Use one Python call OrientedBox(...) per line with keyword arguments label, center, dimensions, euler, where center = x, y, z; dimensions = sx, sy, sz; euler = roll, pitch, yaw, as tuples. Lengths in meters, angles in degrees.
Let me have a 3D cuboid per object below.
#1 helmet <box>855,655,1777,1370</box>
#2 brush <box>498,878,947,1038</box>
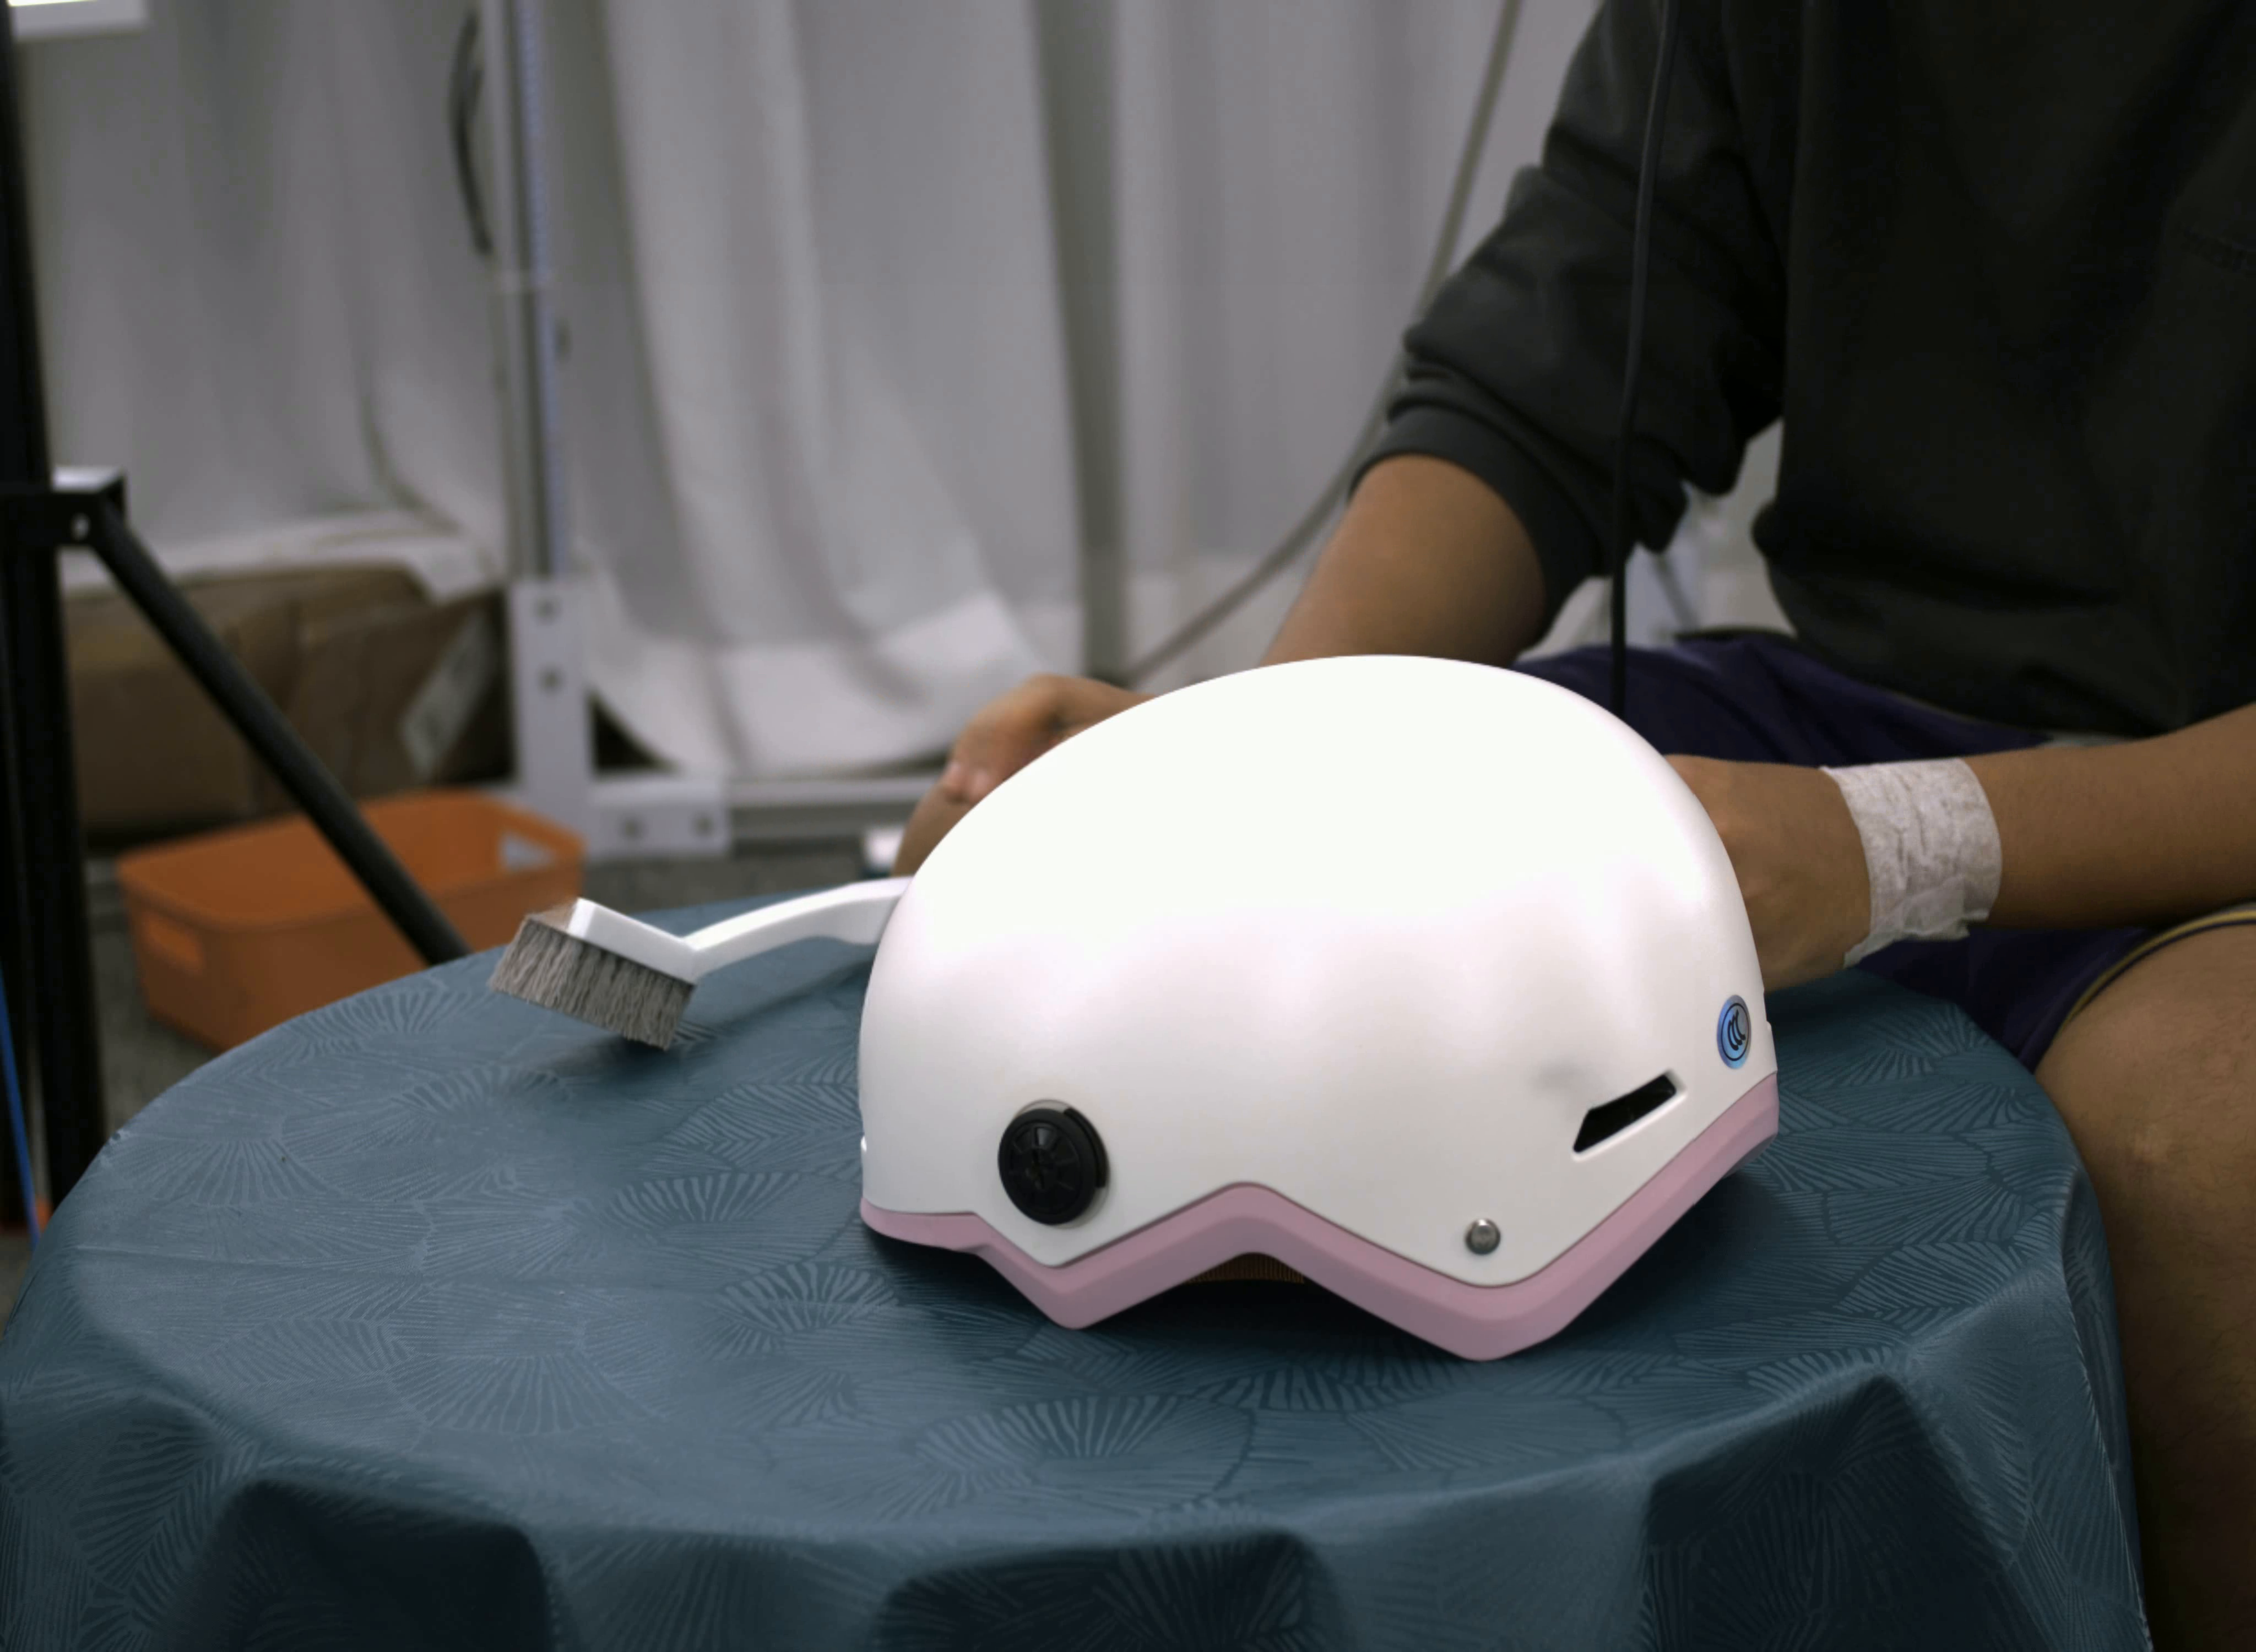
OrientedBox(label="helmet", center=(0.049, 0.036, 1.509), dimensions=(0.273, 0.167, 0.233), euler=(6, 18, 29))
OrientedBox(label="brush", center=(-0.111, 0.043, 1.766), dimensions=(0.035, 0.050, 0.237), euler=(11, 7, 41))
